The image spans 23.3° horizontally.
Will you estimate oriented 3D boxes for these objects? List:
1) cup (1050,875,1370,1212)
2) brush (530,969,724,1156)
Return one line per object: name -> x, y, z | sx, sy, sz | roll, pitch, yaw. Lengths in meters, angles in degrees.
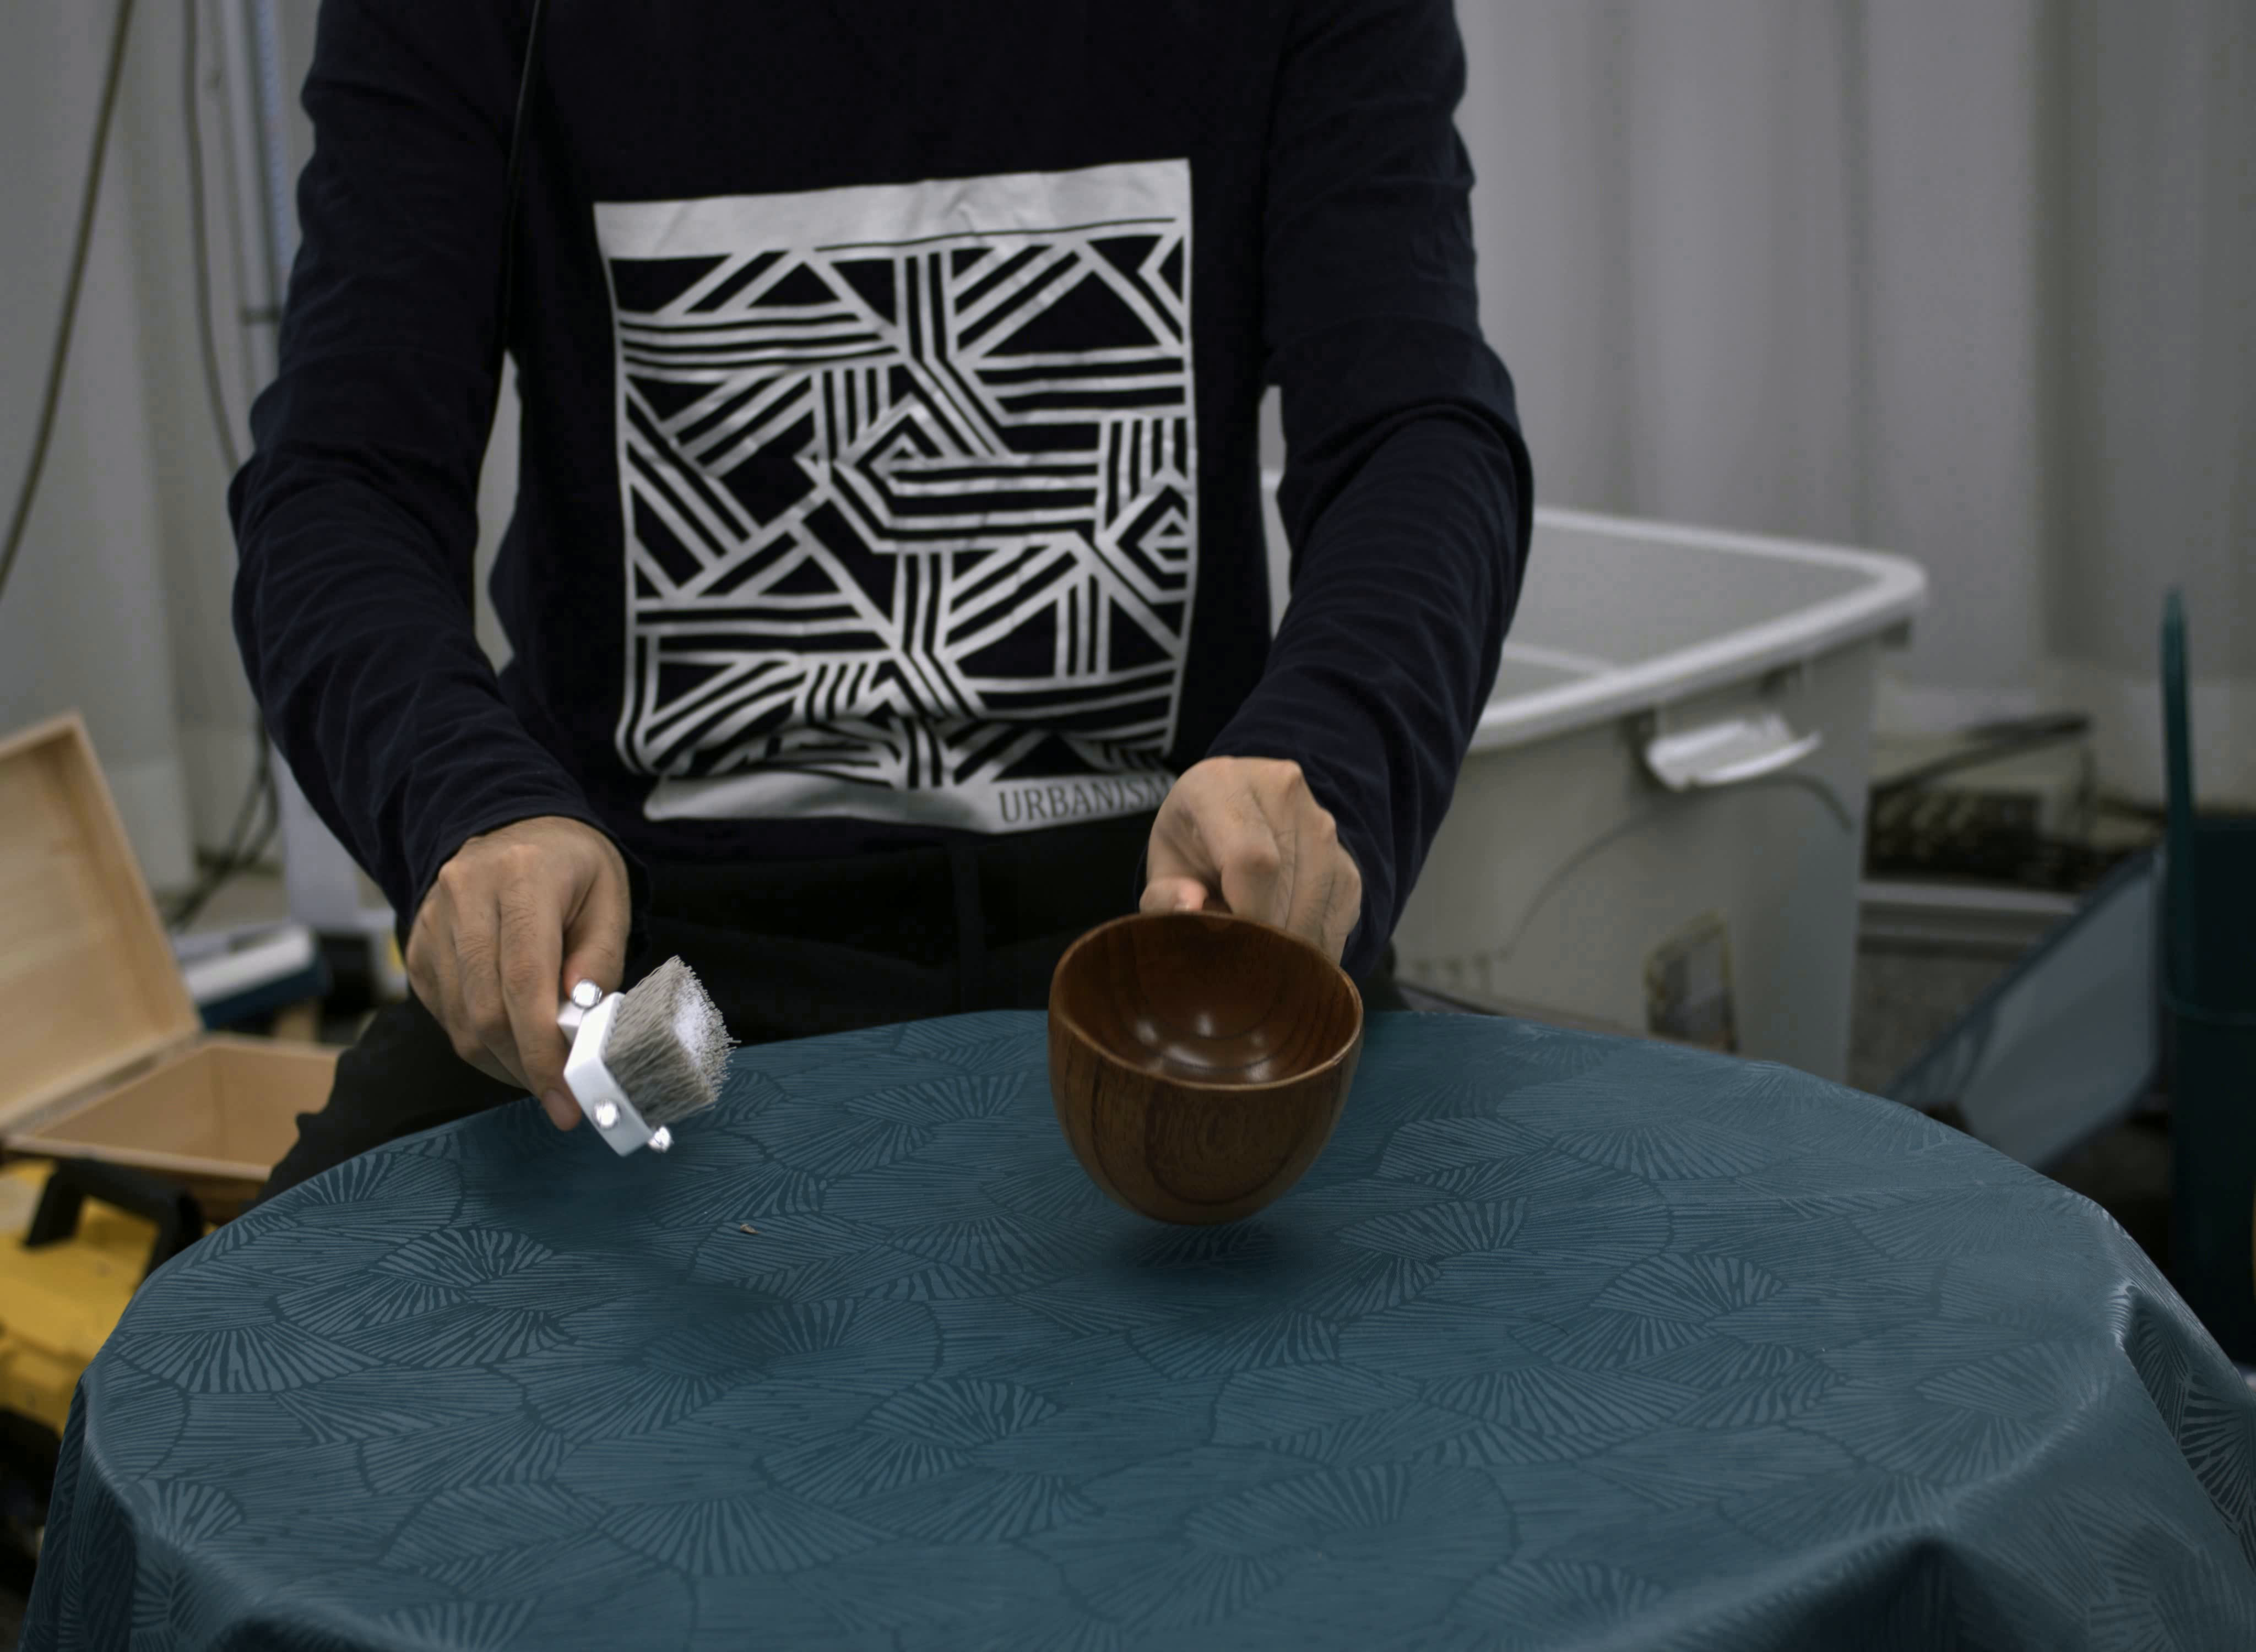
cup -> 0.023, 0.065, 1.662 | 0.096, 0.067, 0.121 | 7, 35, -1
brush -> -0.158, 0.062, 1.709 | 0.050, 0.034, 0.244 | -37, 9, -4
